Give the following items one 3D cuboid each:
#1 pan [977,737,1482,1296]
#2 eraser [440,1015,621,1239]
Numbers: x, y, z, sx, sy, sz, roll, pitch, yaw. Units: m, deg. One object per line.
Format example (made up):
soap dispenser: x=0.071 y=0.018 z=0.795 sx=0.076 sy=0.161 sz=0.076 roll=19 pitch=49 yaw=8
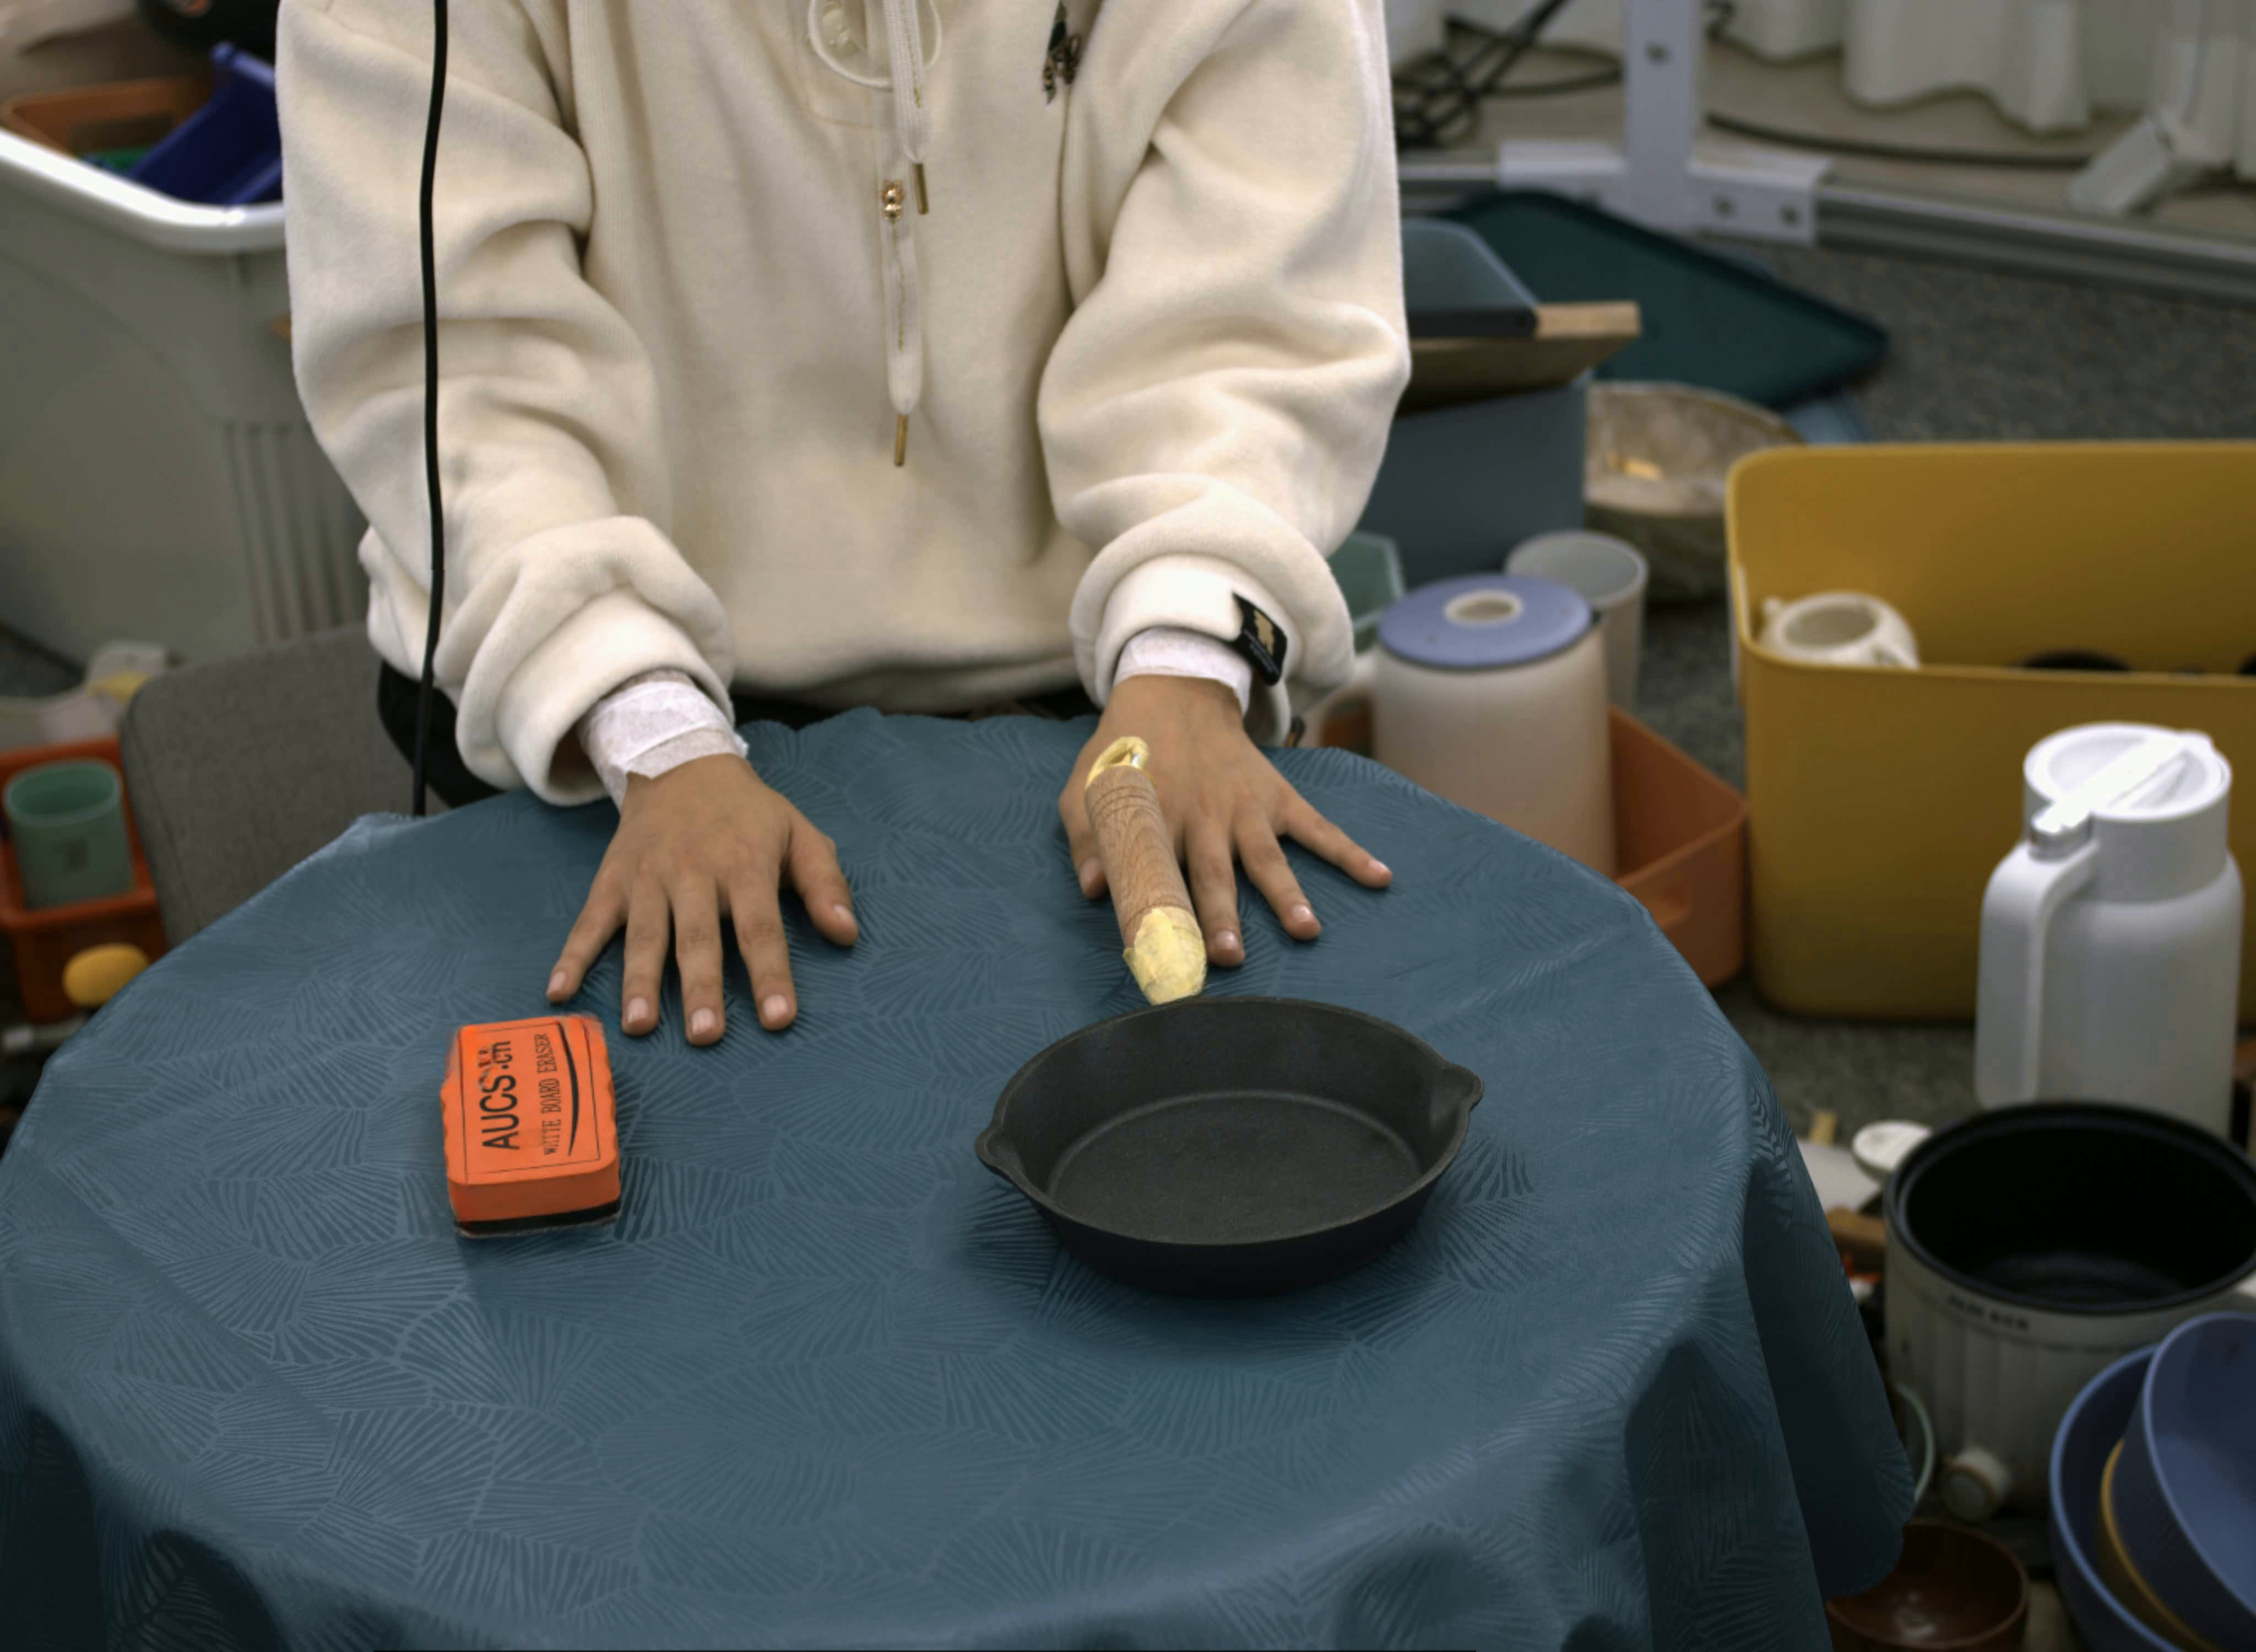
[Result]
pan: x=0.021 y=0.062 z=1.919 sx=0.168 sy=0.049 sz=0.328 roll=-7 pitch=29 yaw=-6
eraser: x=-0.202 y=0.101 z=1.895 sx=0.059 sy=0.022 sz=0.109 roll=-5 pitch=28 yaw=-5
